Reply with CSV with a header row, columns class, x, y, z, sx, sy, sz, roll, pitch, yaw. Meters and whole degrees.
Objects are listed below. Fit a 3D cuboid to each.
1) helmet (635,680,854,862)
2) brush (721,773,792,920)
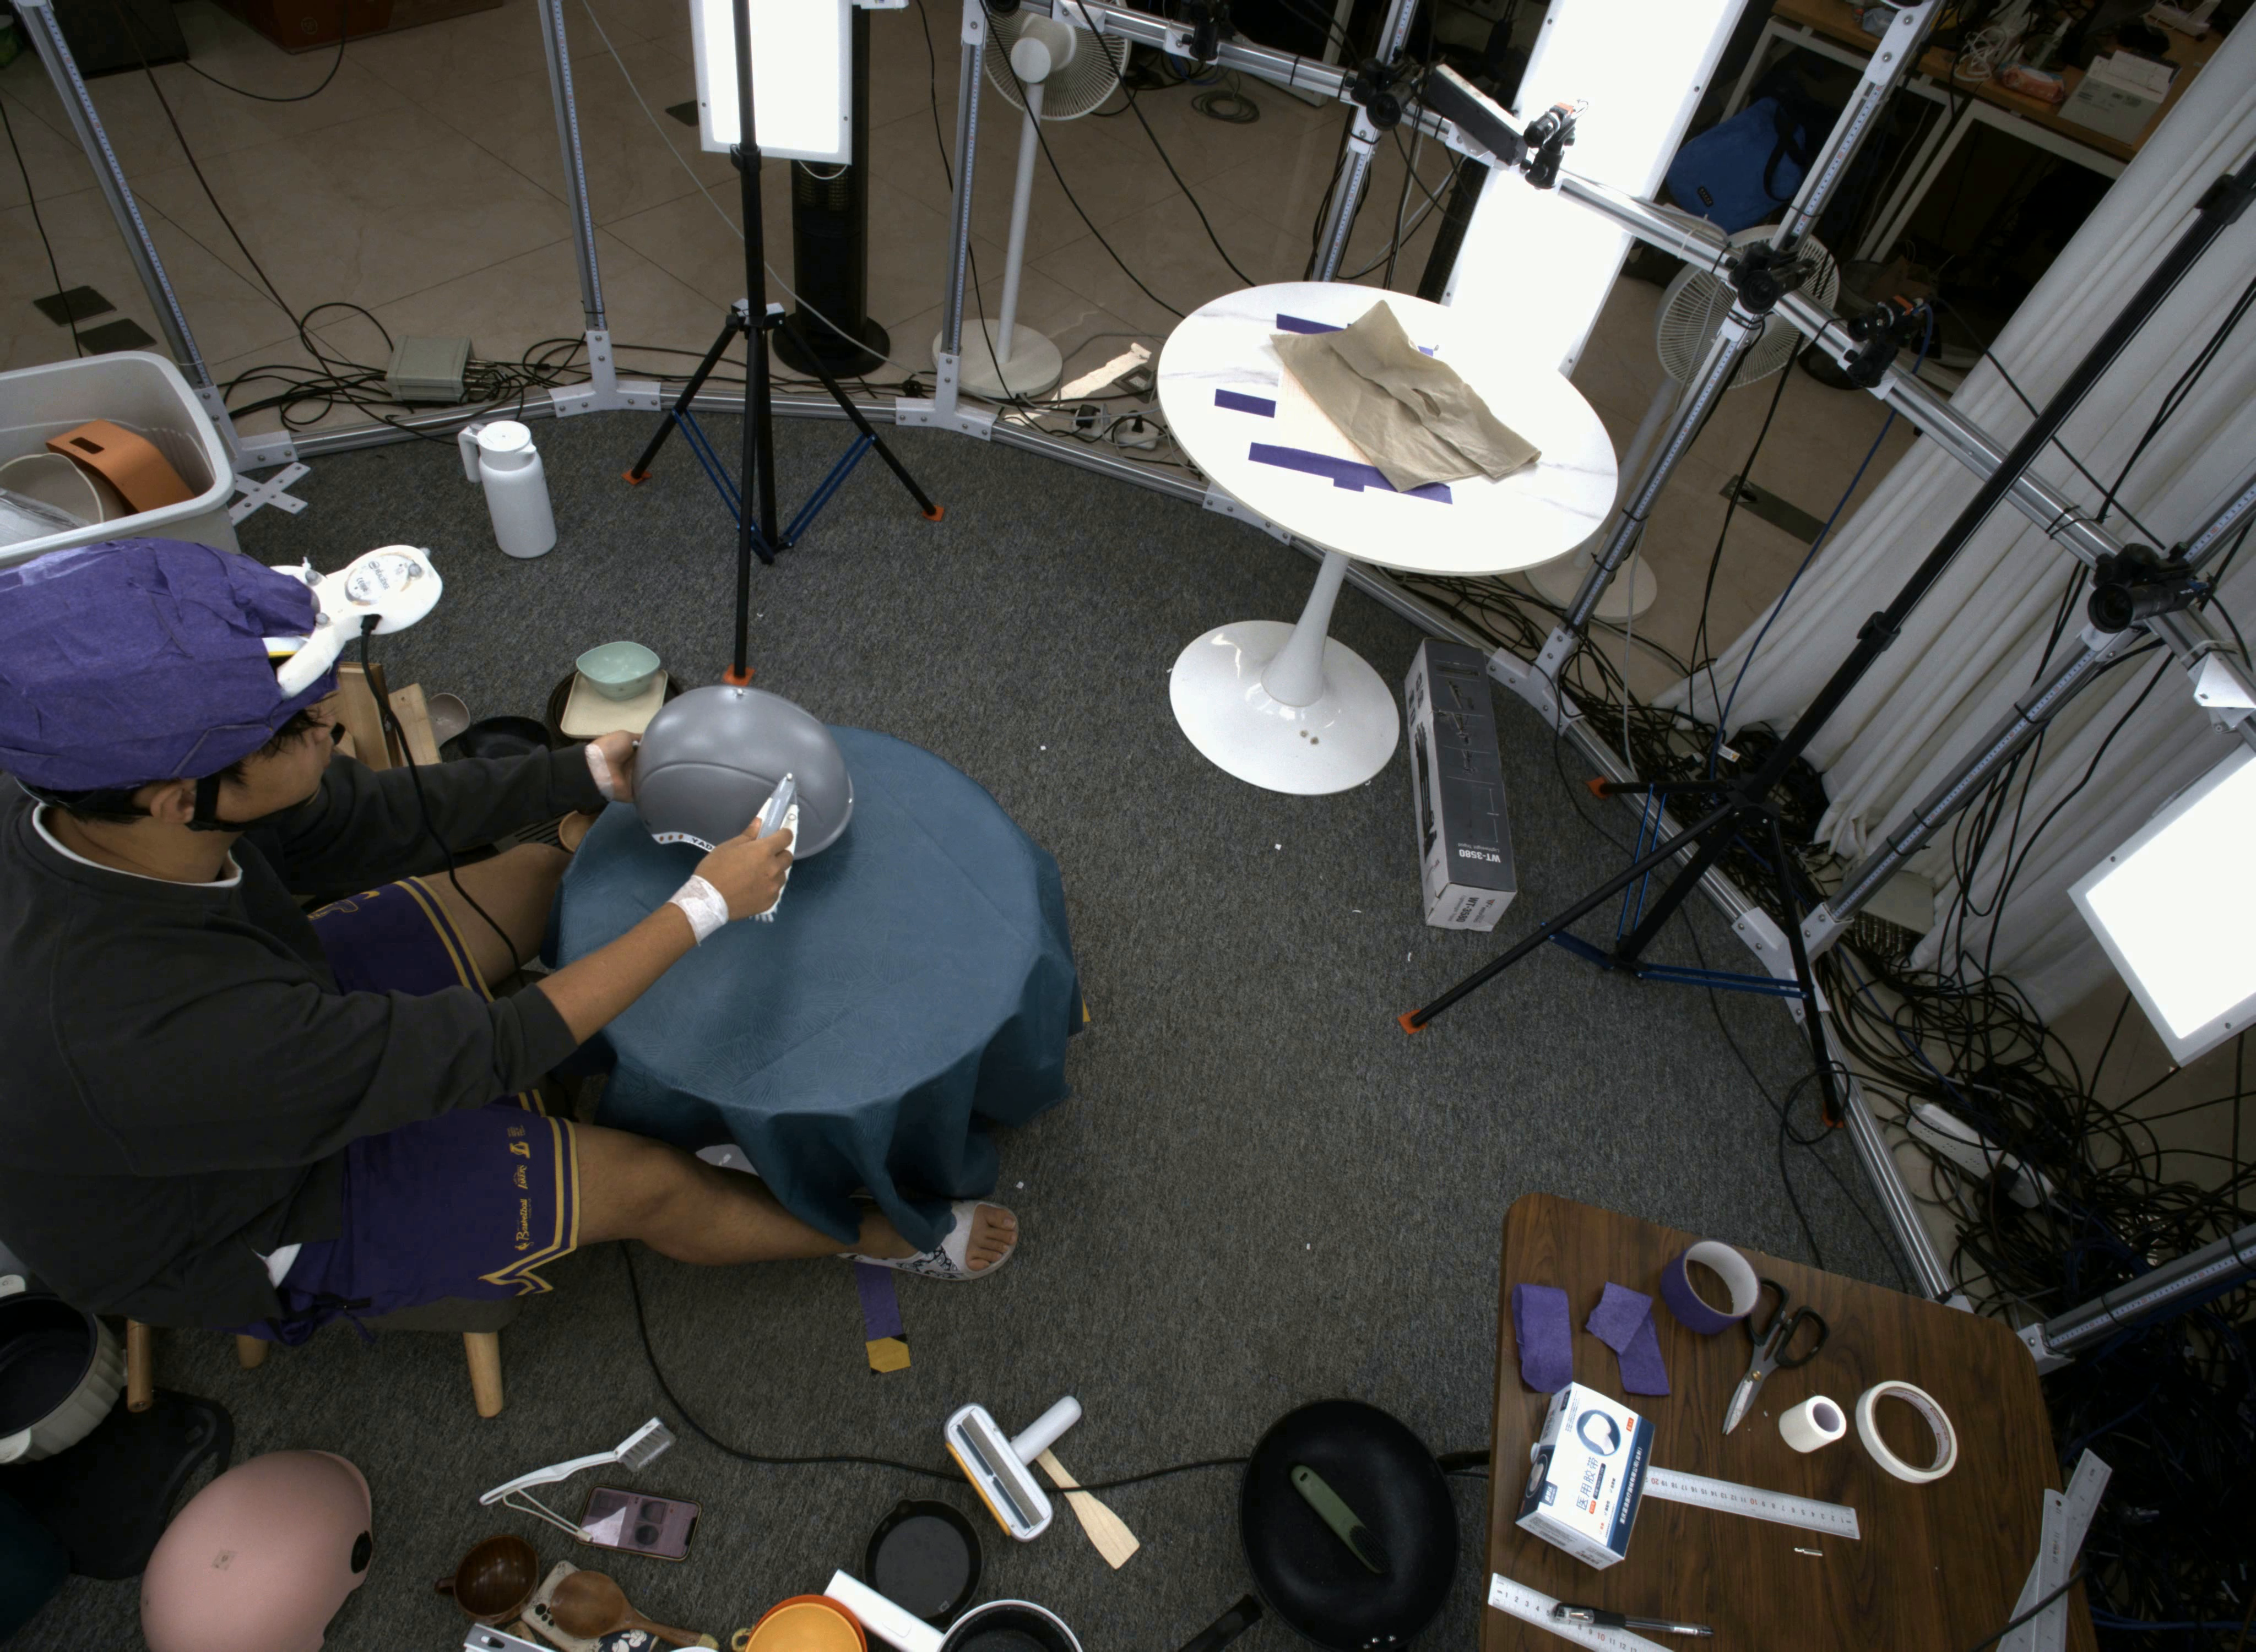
class,x,y,z,sx,sy,sz,roll,pitch,yaw
helmet,-0.481,-0.086,1.609,0.275,0.171,0.229,9,59,-7
brush,-0.420,0.012,1.493,0.062,0.094,0.175,17,72,-12
